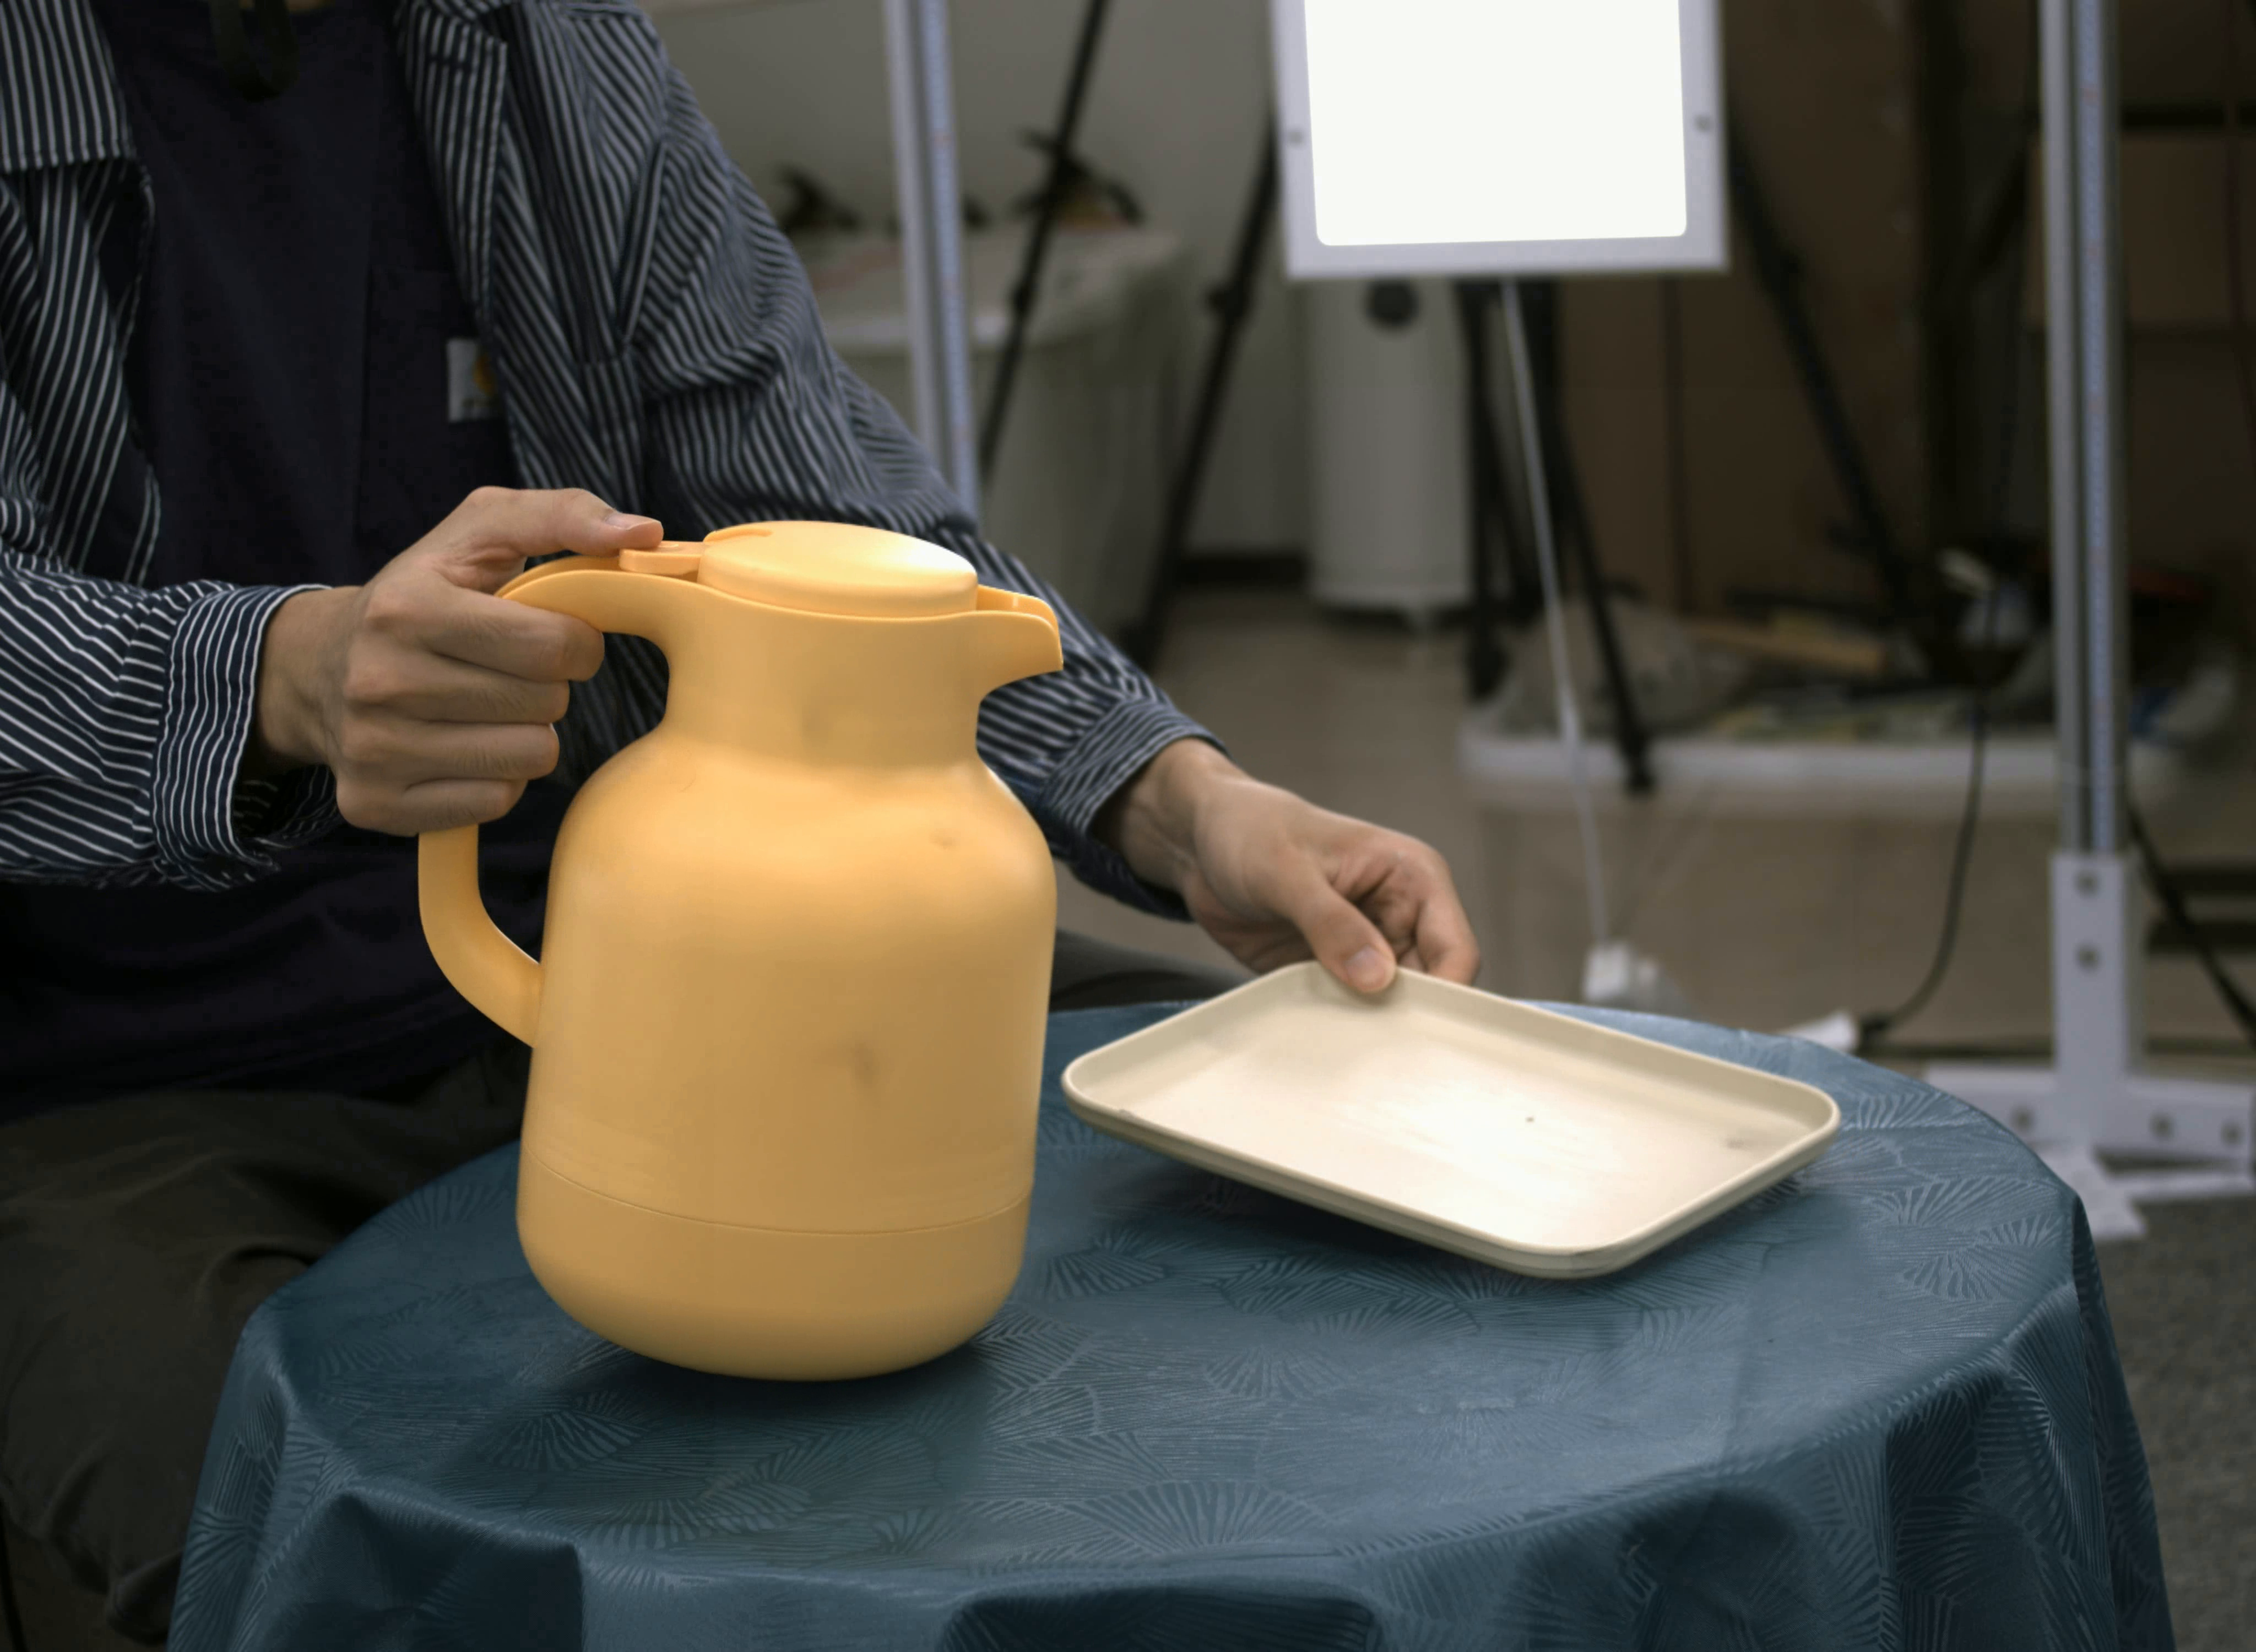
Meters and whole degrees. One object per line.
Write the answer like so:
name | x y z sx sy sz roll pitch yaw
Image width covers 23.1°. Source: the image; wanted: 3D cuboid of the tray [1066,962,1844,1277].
tray | 0.110 0.098 1.867 0.244 0.017 0.167 15 25 39

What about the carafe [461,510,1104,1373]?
carafe | -0.112 0.030 1.741 0.201 0.262 0.163 6 13 -3
